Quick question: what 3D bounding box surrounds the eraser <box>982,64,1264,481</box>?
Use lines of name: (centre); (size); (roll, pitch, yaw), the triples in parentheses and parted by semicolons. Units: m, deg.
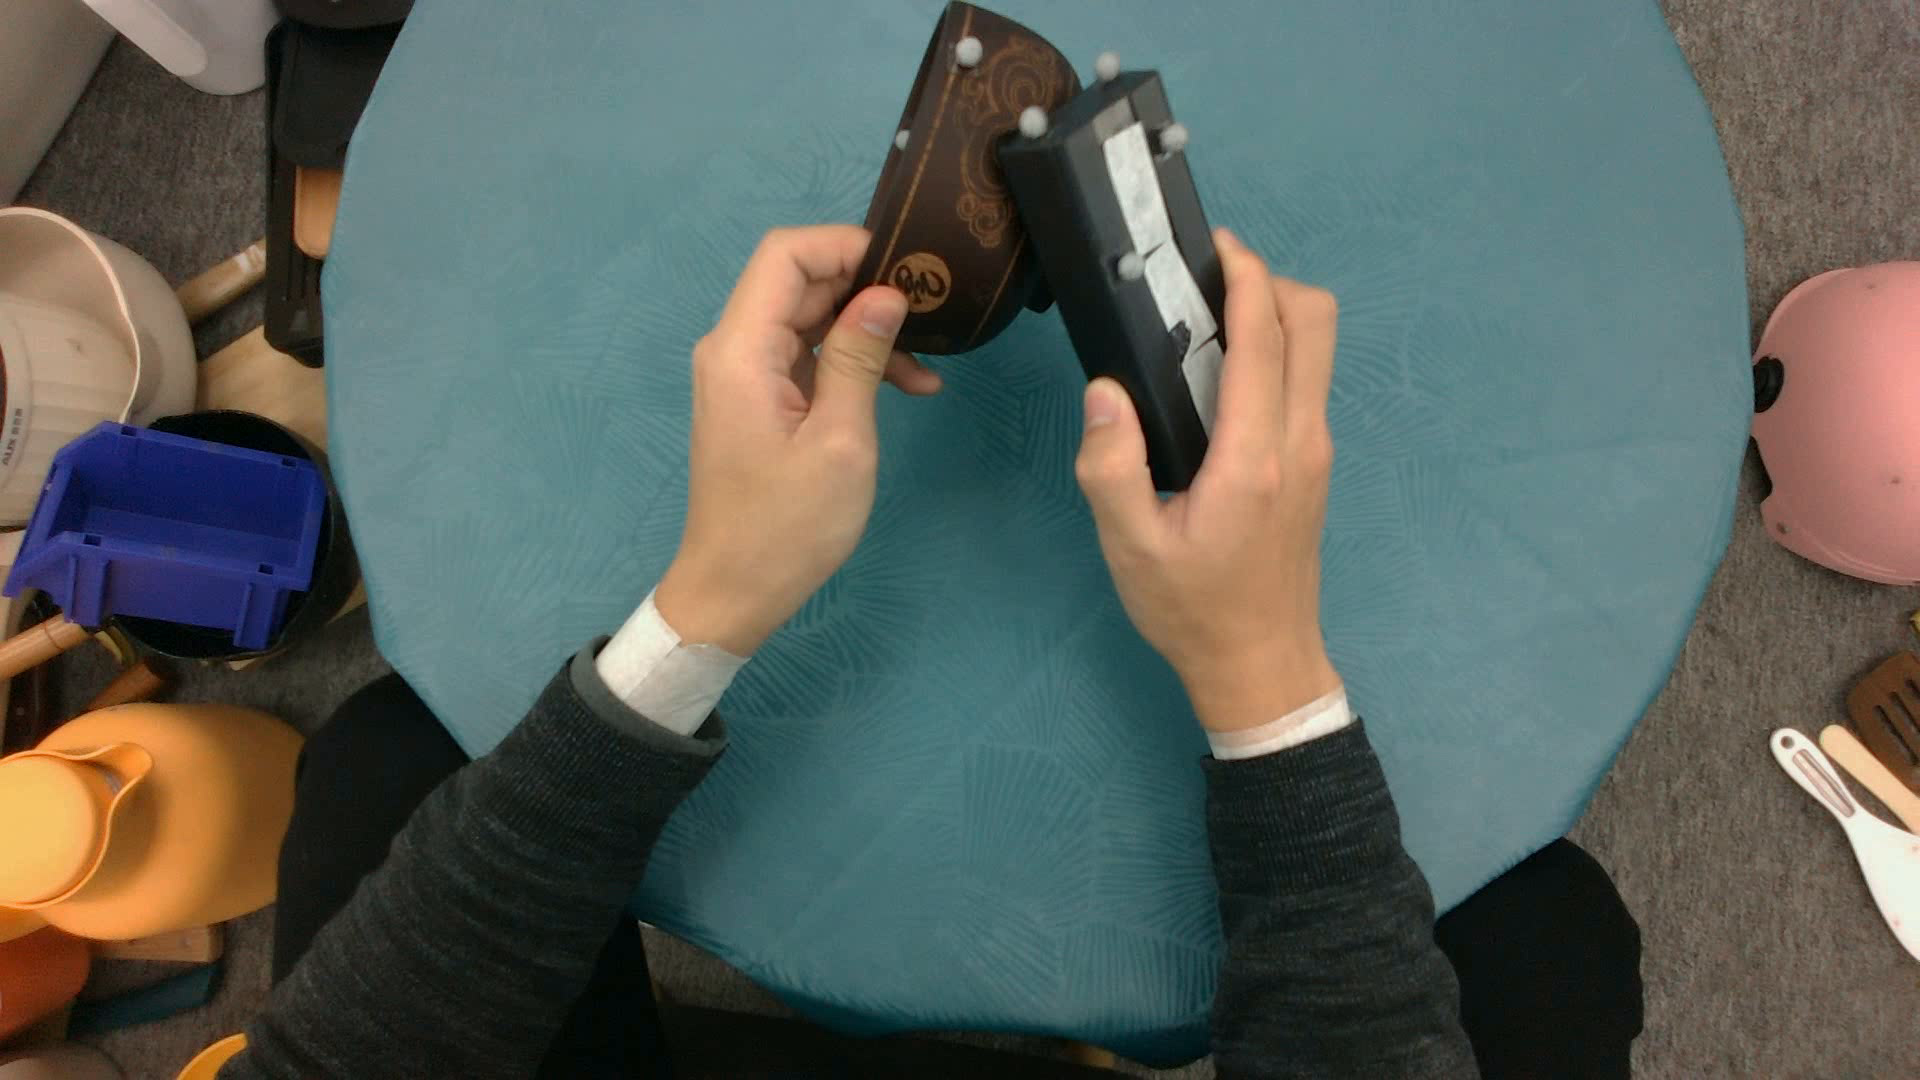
eraser: (0.055, -0.084, 0.446); (0.054, 0.030, 0.125); (-41, 120, -22)

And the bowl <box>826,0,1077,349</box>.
bowl: (0.004, -0.122, 0.485); (0.070, 0.118, 0.118); (19, 82, -12)
